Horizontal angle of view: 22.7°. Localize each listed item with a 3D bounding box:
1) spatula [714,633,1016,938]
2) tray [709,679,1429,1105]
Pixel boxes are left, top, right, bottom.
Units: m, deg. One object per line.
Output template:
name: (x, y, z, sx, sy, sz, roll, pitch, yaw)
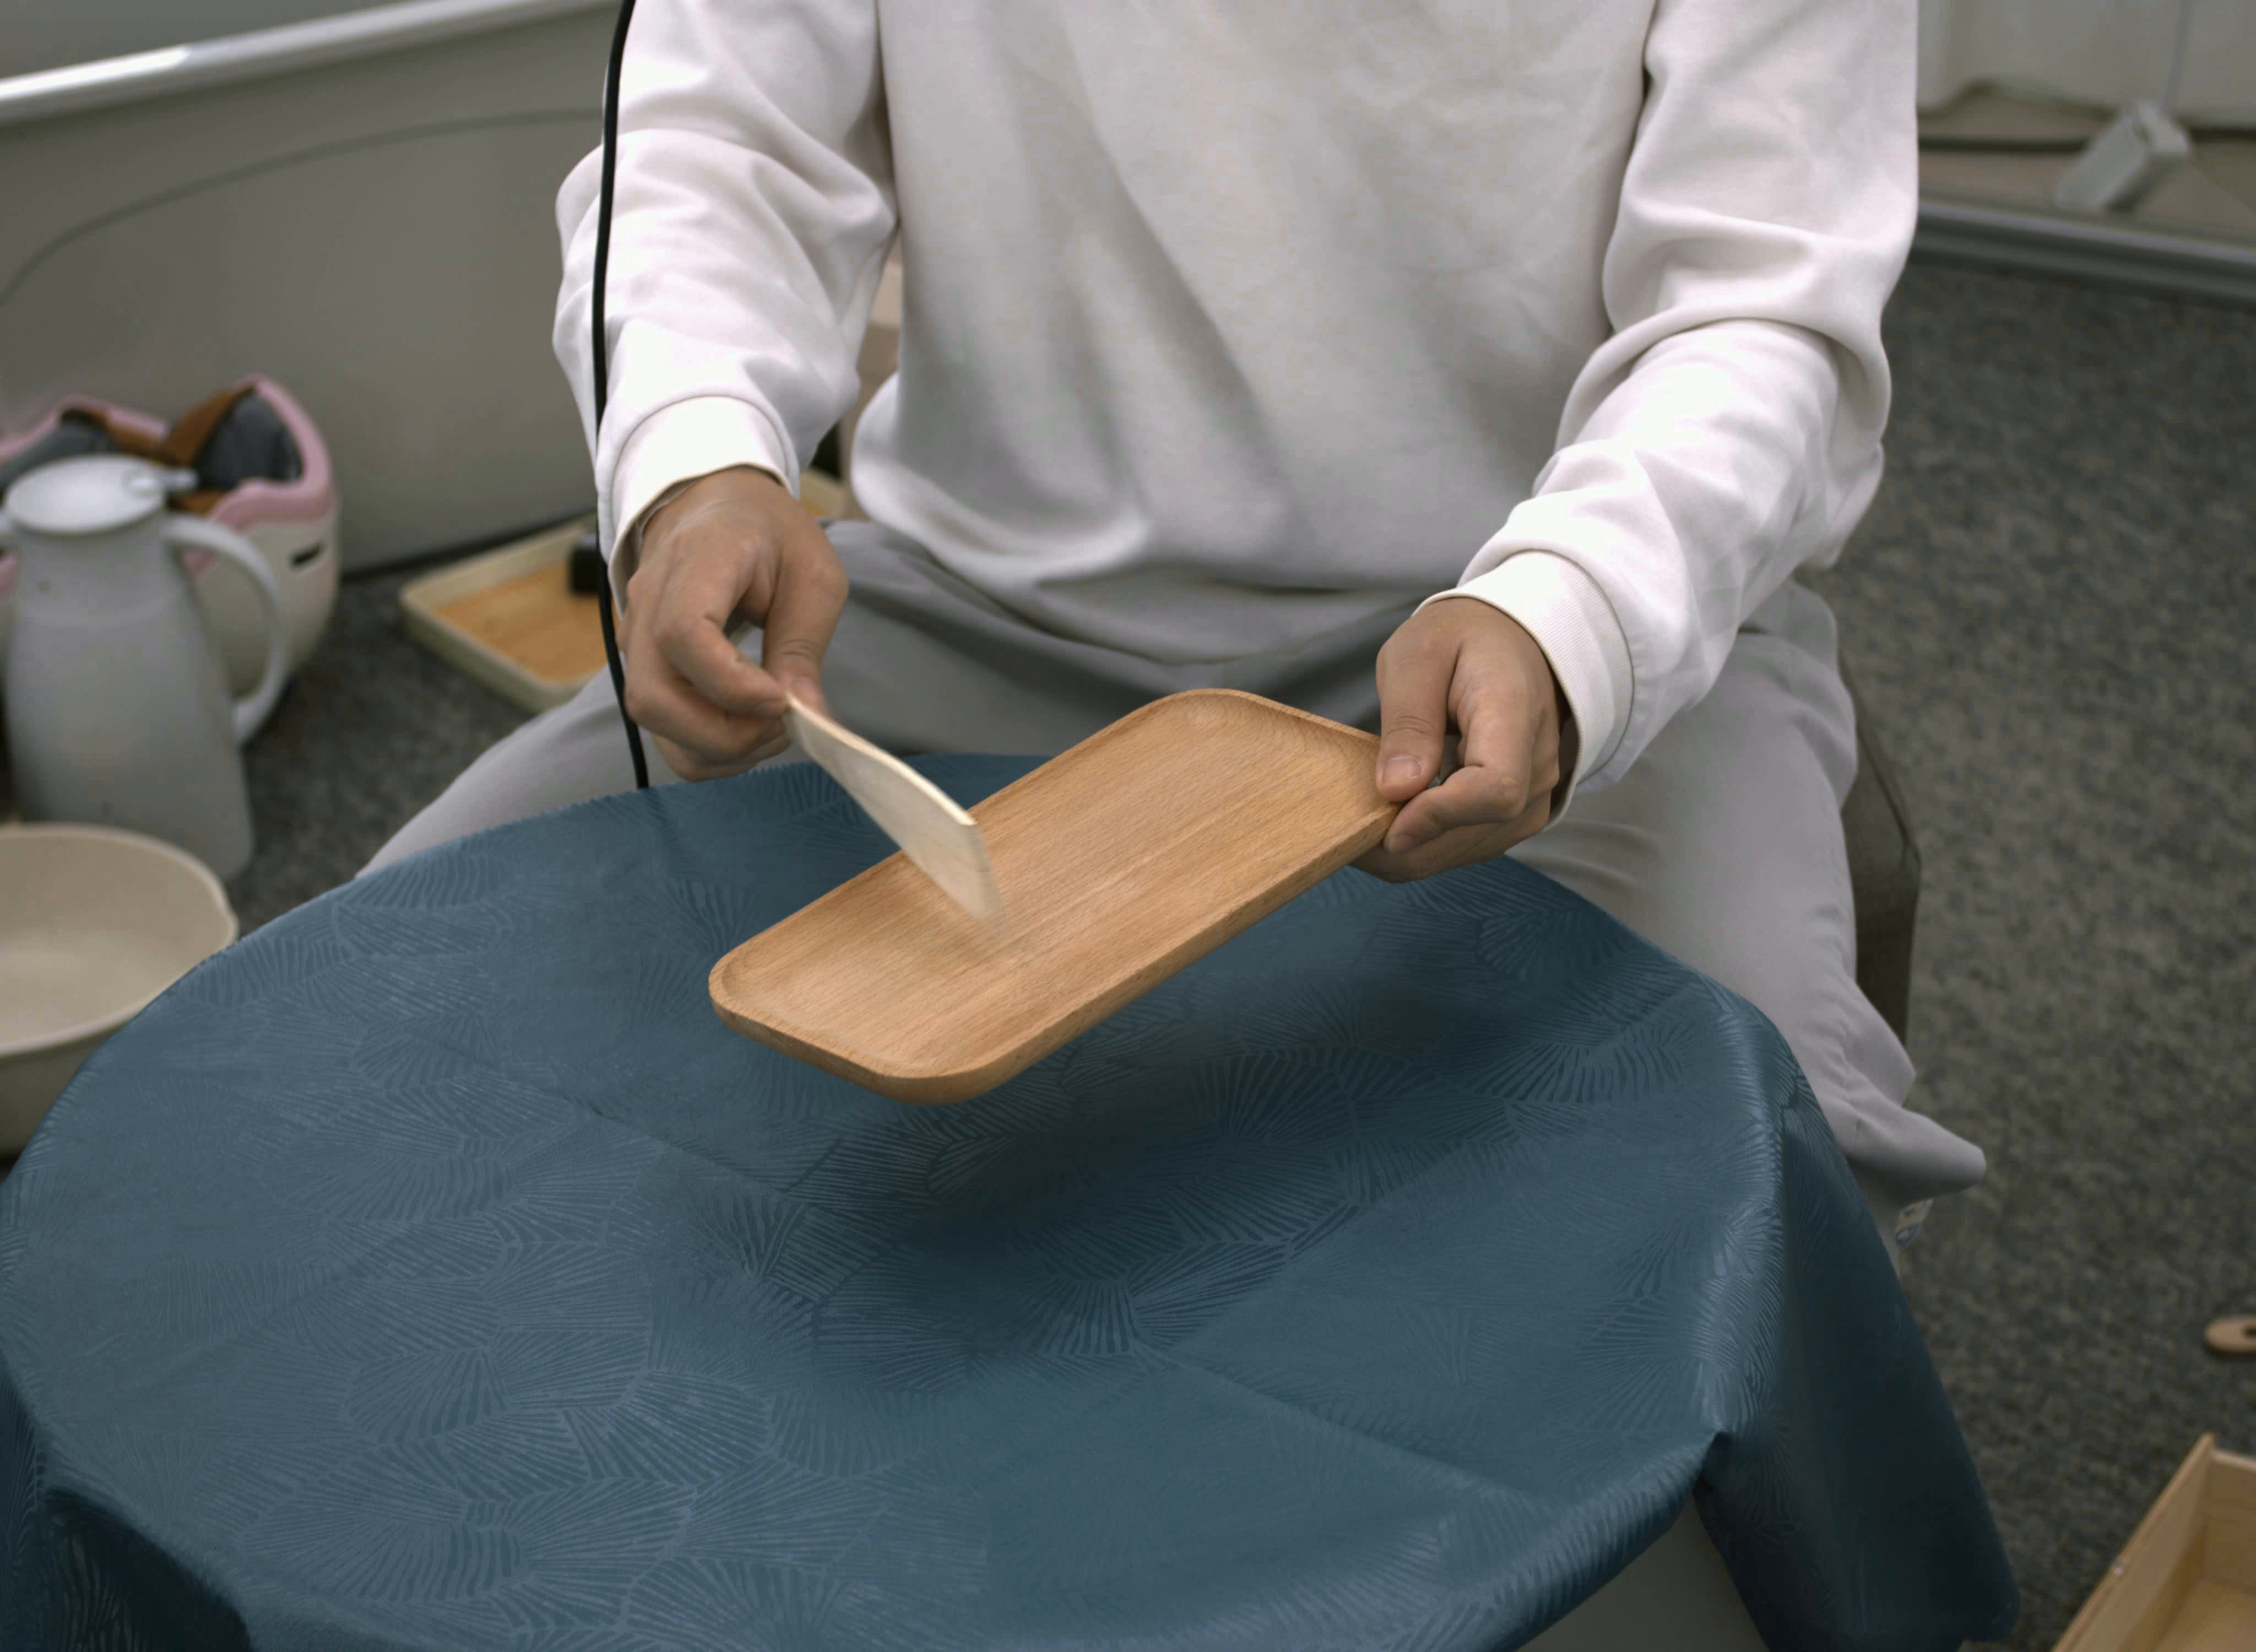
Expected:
spatula: (-0.093, -0.021, 1.899, 0.005, 0.050, 0.209, -27, 34, -19)
tray: (-0.017, 0.020, 1.874, 0.130, 0.022, 0.254, 23, 40, 39)
